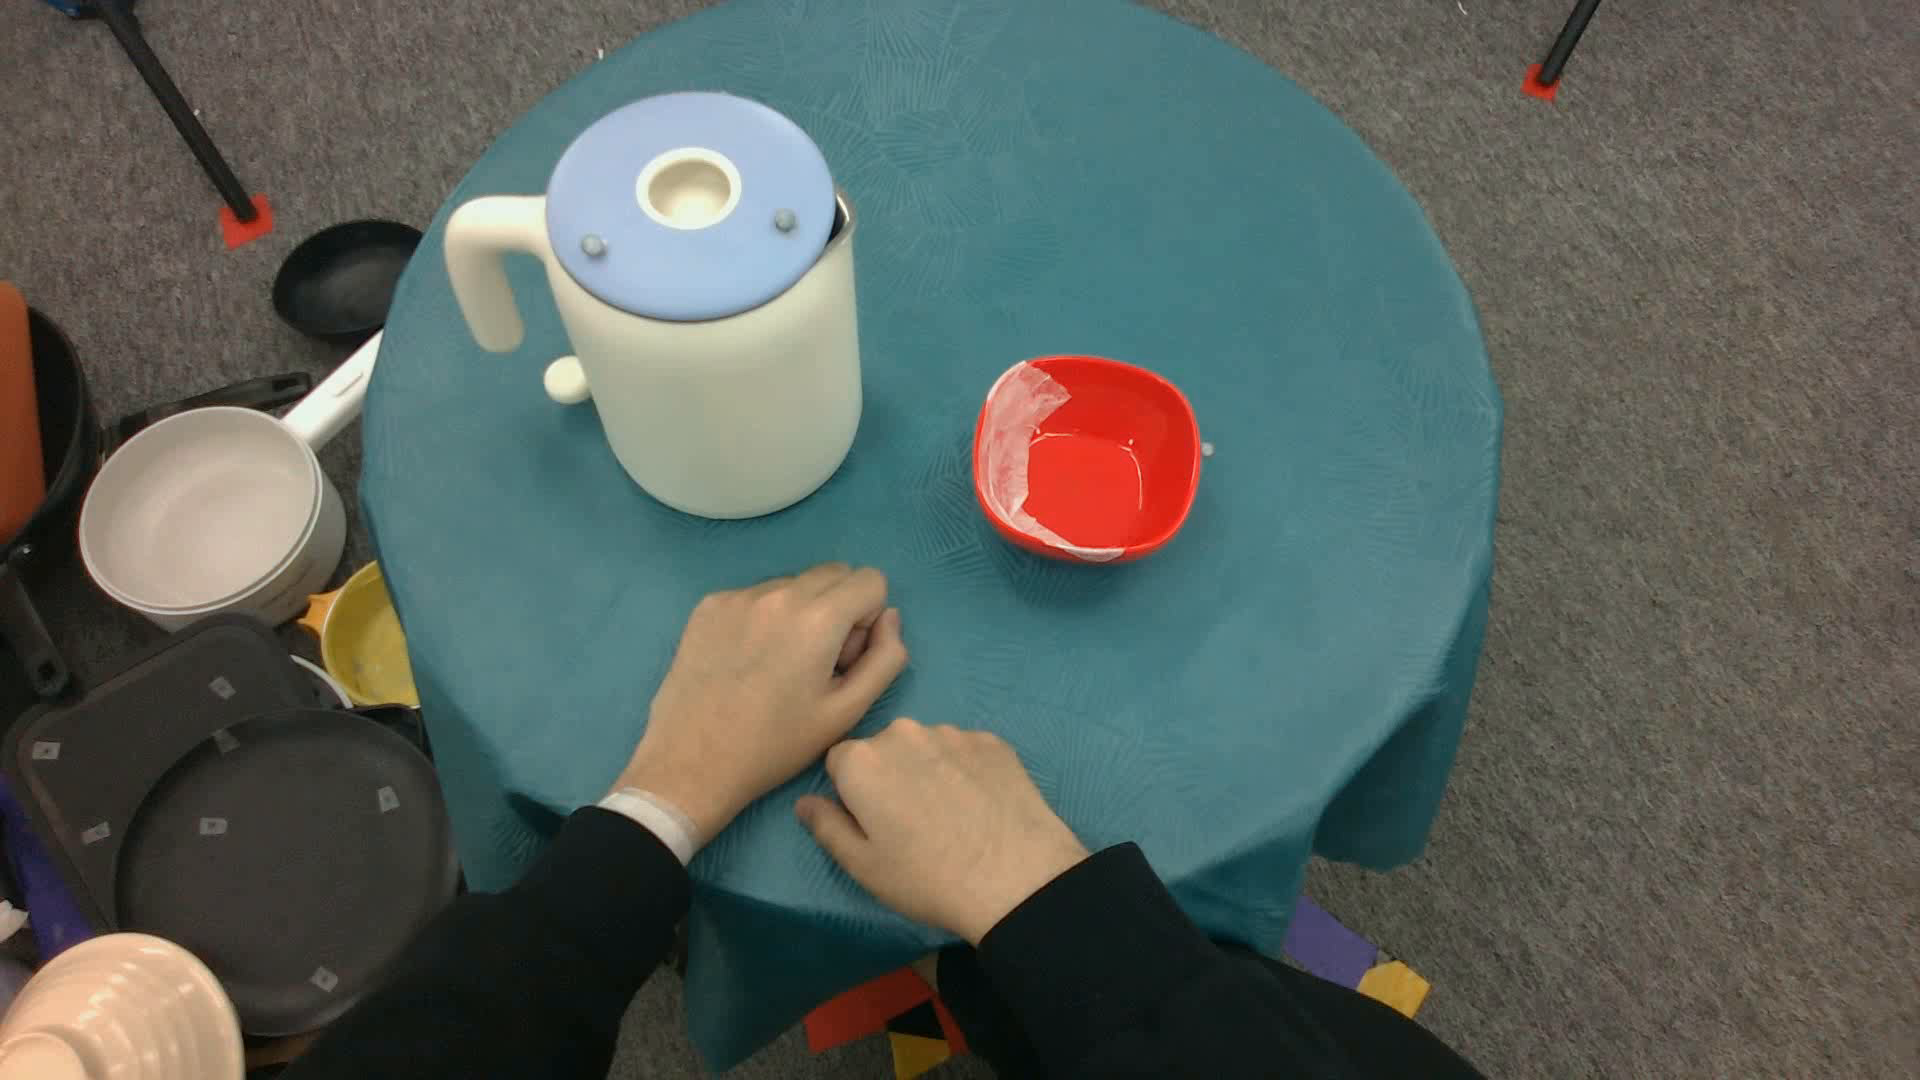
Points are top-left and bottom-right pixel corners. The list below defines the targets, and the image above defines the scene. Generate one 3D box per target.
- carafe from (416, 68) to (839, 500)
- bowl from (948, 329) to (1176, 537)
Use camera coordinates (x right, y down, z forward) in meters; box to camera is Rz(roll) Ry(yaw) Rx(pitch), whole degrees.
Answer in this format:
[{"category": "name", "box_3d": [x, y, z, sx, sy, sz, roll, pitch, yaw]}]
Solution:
[{"category": "carafe", "box_3d": [-0.149, -0.114, 0.640, 0.191, 0.182, 0.133, 2, 62, 0]}, {"category": "bowl", "box_3d": [0.047, -0.045, 0.681, 0.119, 0.051, 0.119, 3, 61, -5]}]
